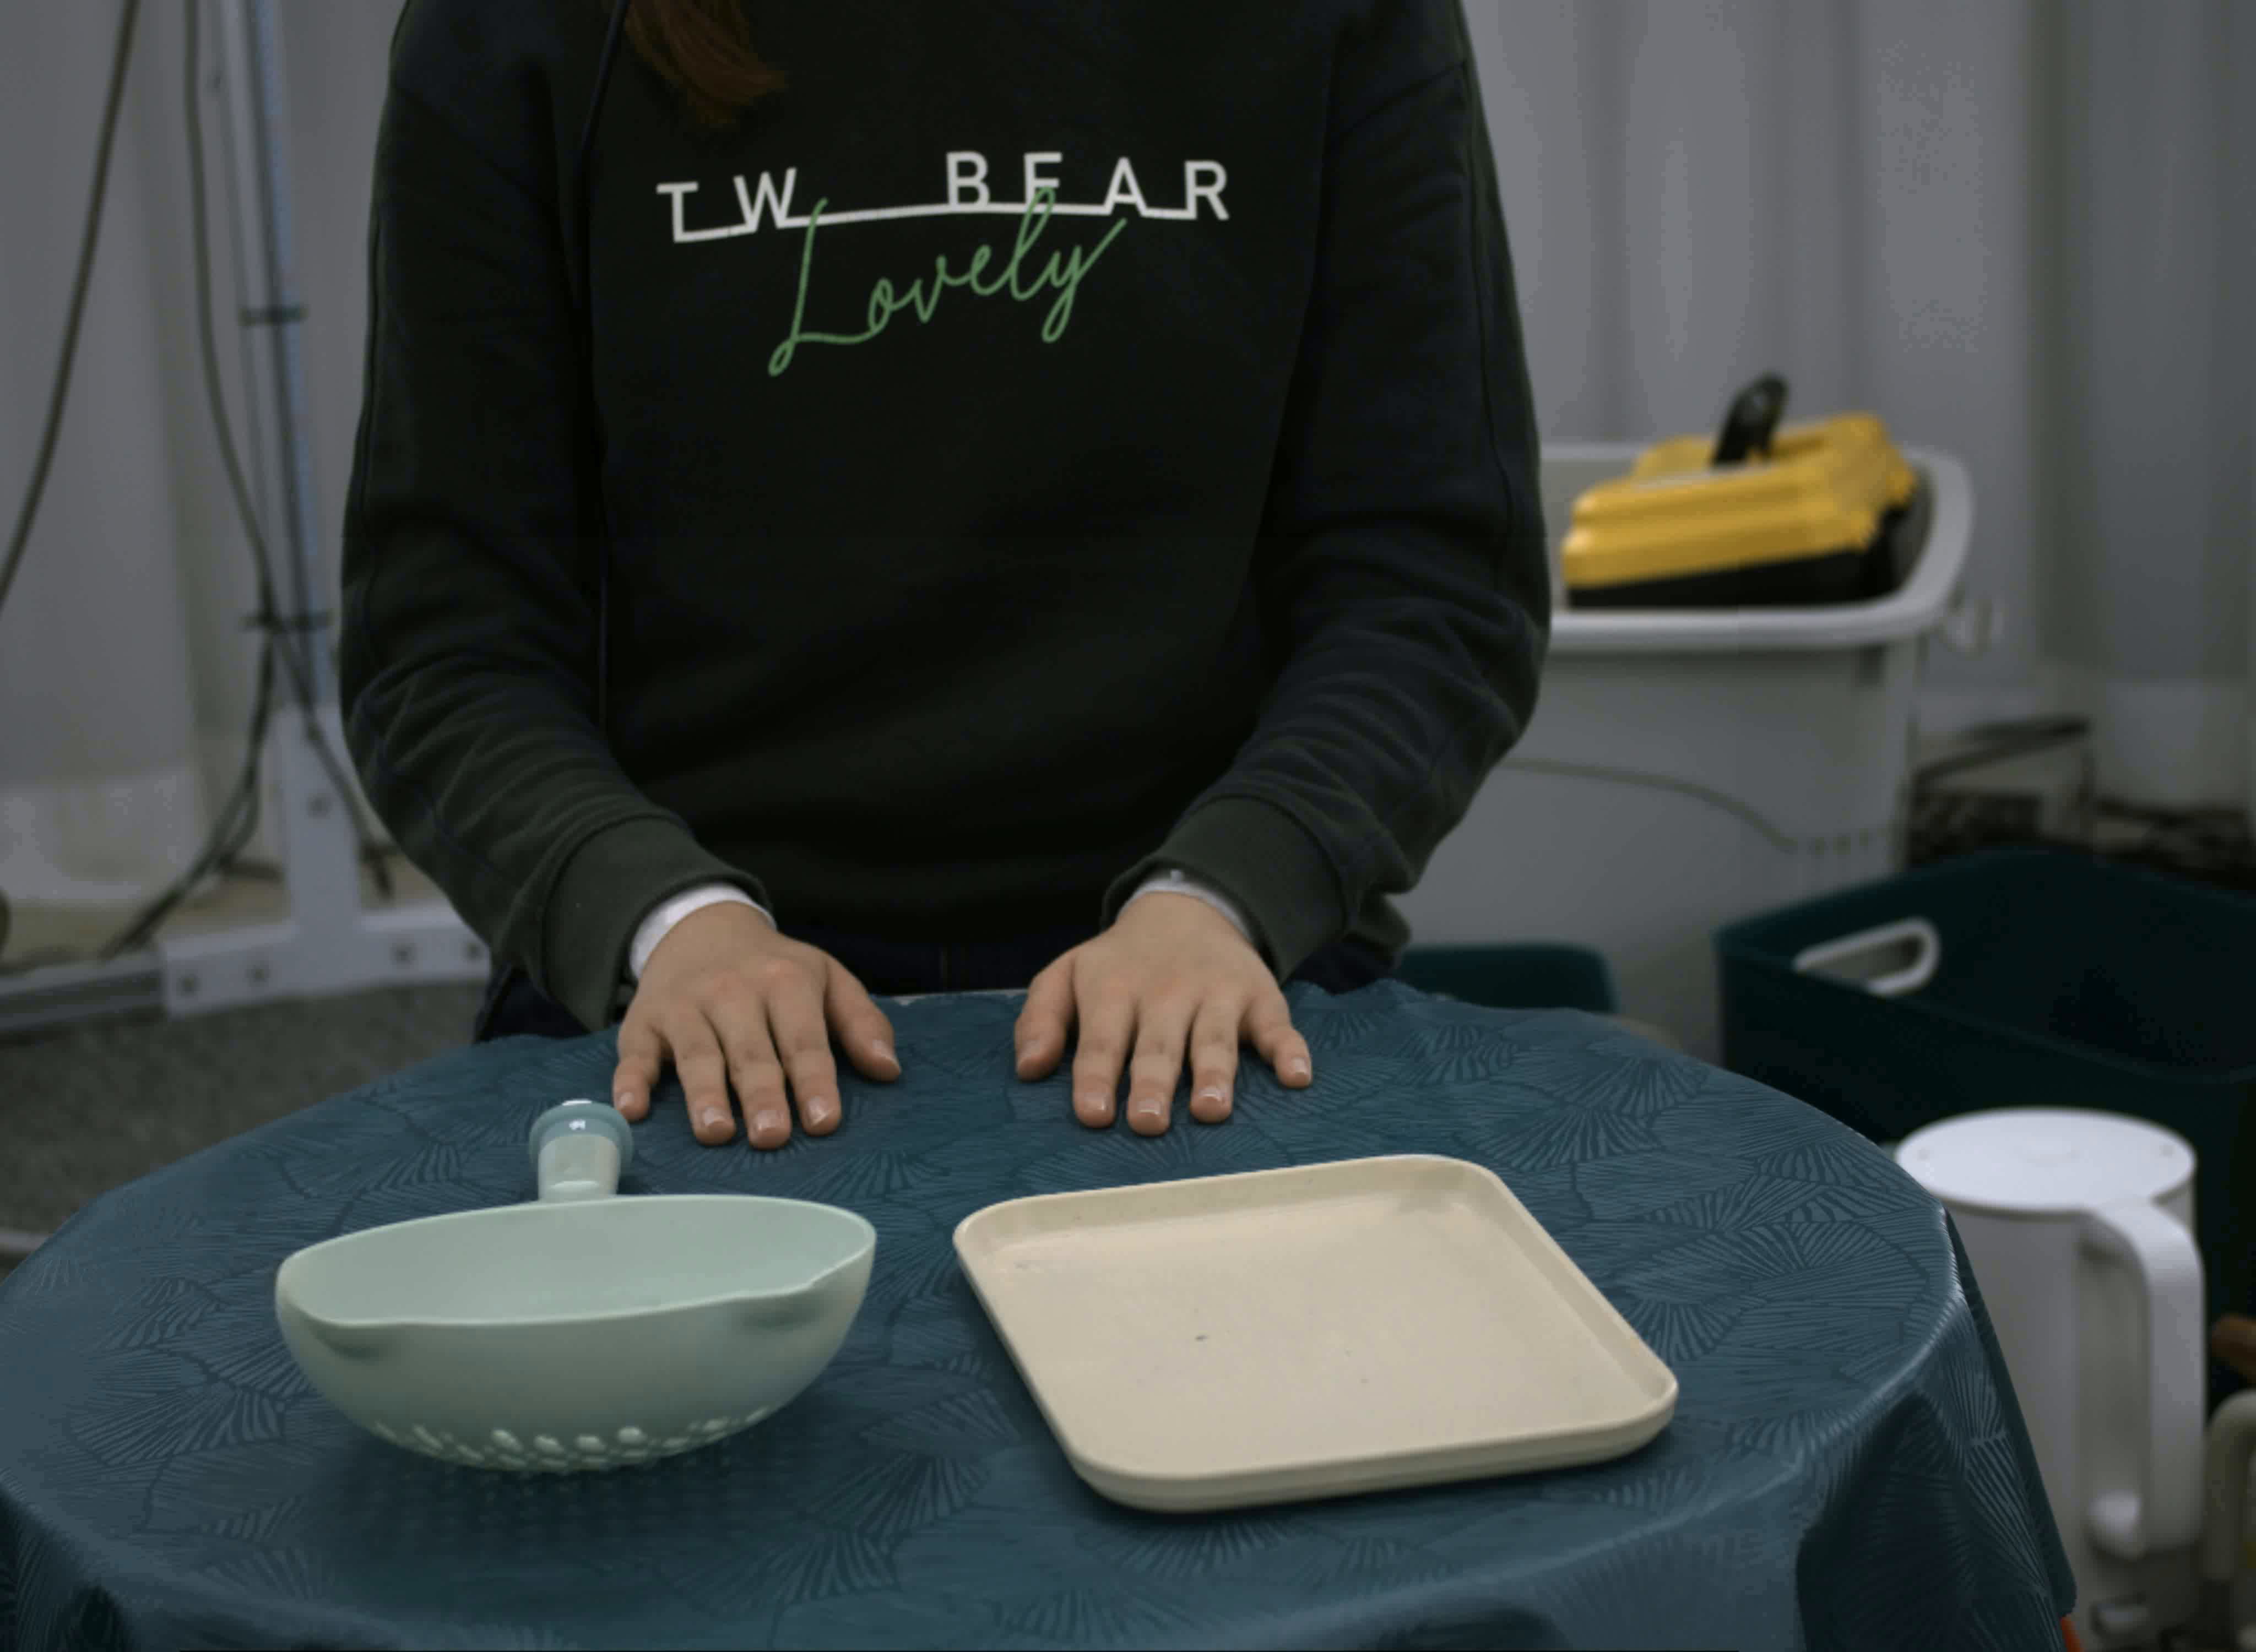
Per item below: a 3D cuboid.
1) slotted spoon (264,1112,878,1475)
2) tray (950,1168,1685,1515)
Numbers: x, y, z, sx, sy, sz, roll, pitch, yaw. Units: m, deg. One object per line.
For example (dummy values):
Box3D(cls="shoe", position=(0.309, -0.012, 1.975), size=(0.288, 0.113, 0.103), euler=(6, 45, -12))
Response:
Box3D(cls="slotted spoon", position=(-0.161, 0.121, 1.604), size=(0.168, 0.075, 0.361), euler=(-3, 14, -5))
Box3D(cls="tray", position=(0.049, 0.145, 1.559), size=(0.170, 0.017, 0.241), euler=(-6, 14, -11))
